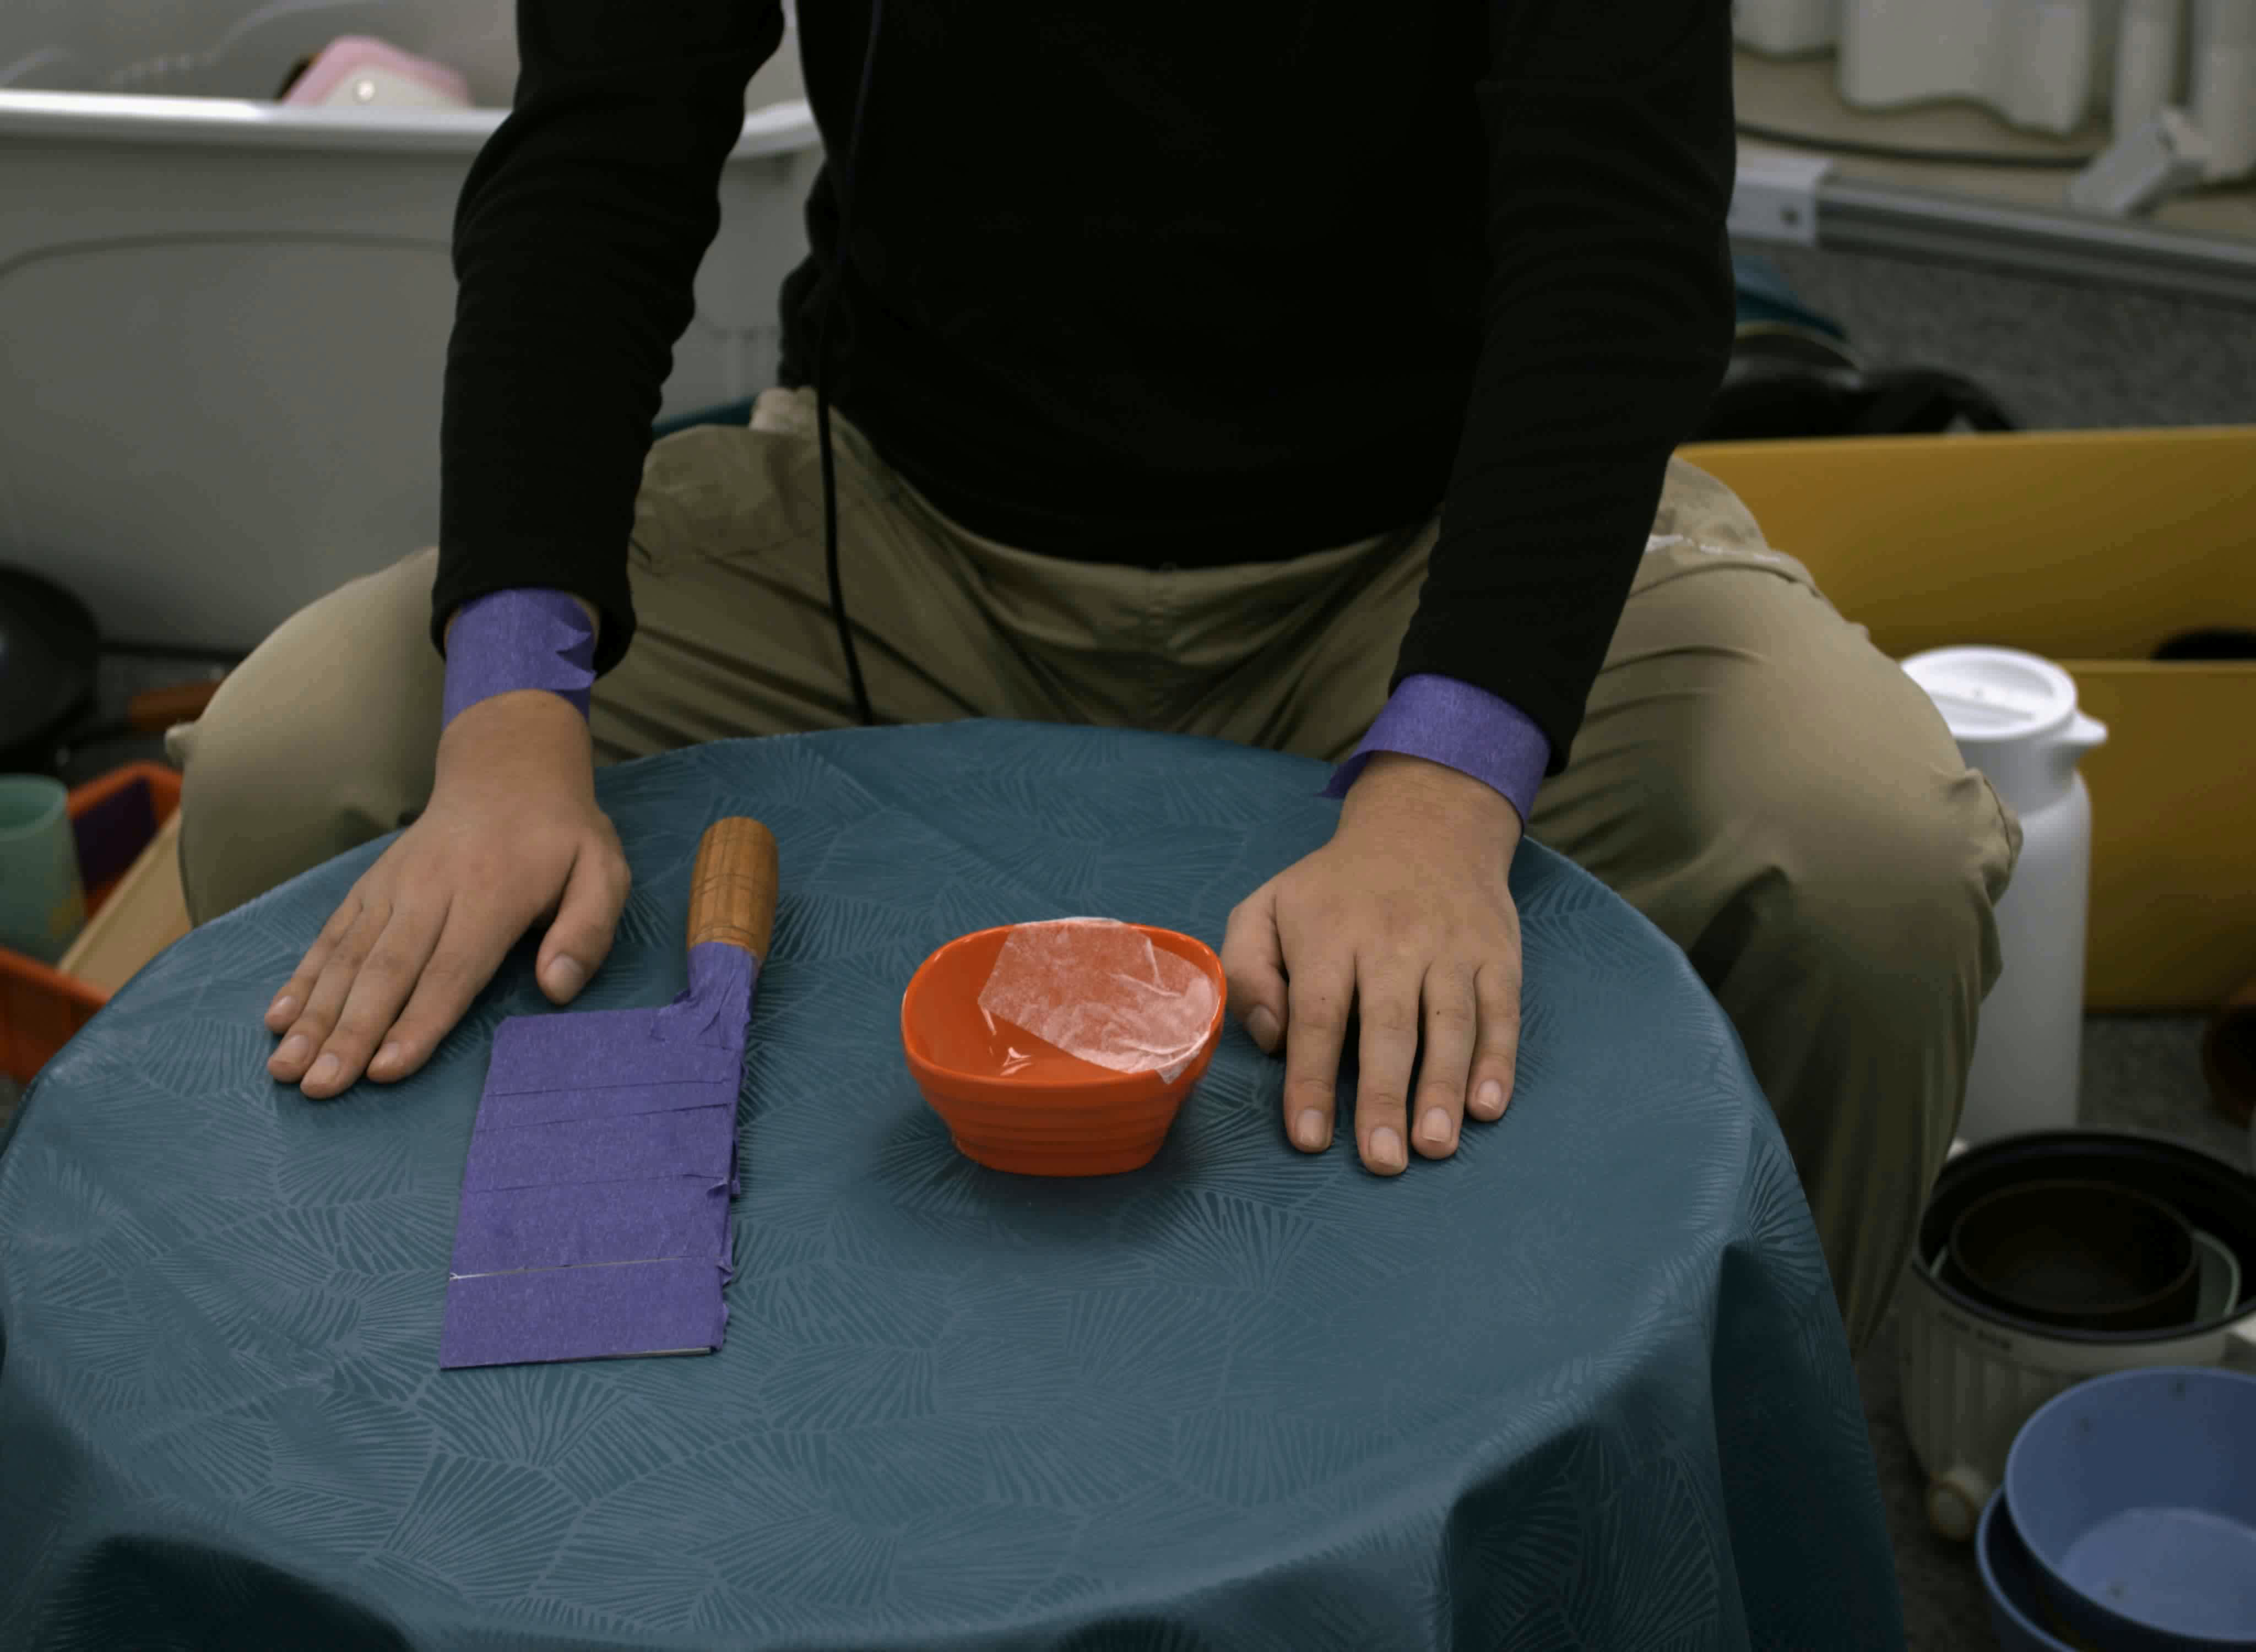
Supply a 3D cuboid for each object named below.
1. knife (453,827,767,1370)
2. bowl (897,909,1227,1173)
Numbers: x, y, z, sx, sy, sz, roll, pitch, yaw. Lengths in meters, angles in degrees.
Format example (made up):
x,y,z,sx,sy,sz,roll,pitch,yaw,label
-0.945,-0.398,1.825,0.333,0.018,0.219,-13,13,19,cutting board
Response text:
x,y,z,sx,sy,sz,roll,pitch,yaw,label
-0.174,0.088,1.912,0.103,0.032,0.320,-2,28,0,knife
-0.020,0.077,1.886,0.118,0.051,0.121,-4,30,2,bowl
